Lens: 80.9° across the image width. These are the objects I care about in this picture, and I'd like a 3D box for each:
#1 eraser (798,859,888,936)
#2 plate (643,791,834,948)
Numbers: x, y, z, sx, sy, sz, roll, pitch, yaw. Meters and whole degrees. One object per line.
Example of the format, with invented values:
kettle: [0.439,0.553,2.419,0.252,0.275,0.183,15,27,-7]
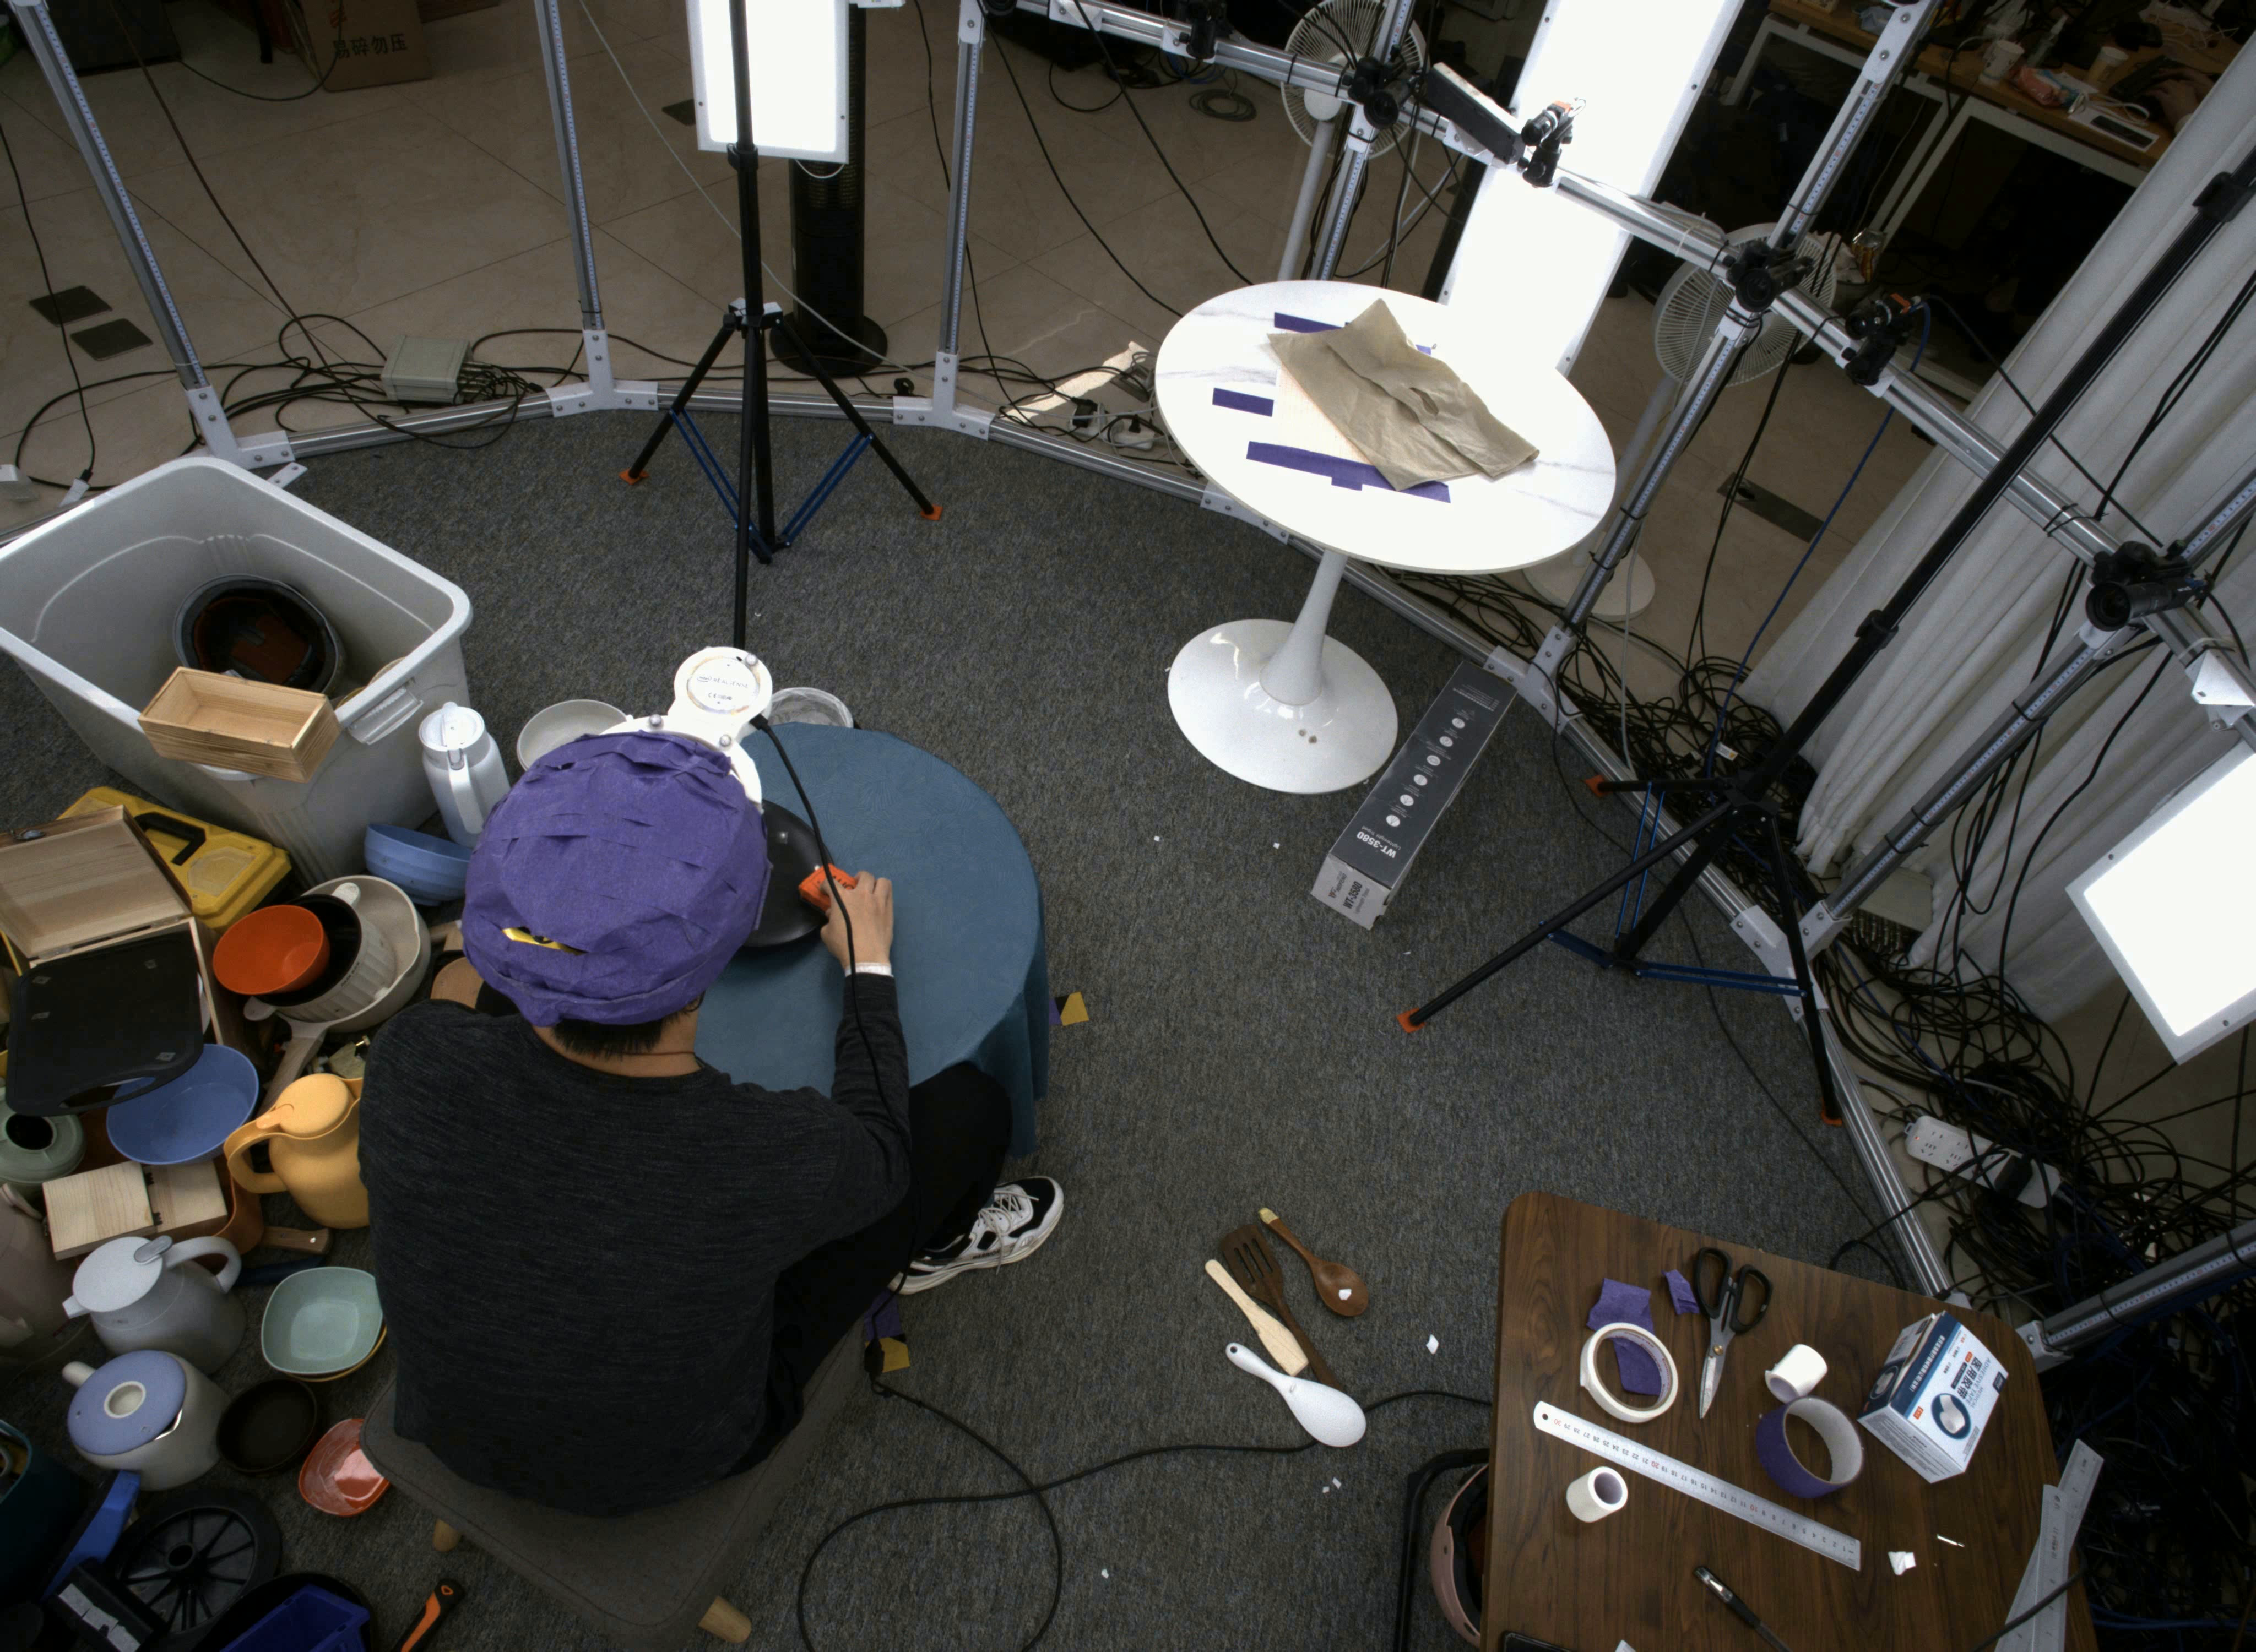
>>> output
eraser: [-0.358,0.087,1.634,0.106,0.023,0.059,32,54,11]
plate: [-0.483,0.055,1.613,0.248,0.023,0.239,22,42,-19]
